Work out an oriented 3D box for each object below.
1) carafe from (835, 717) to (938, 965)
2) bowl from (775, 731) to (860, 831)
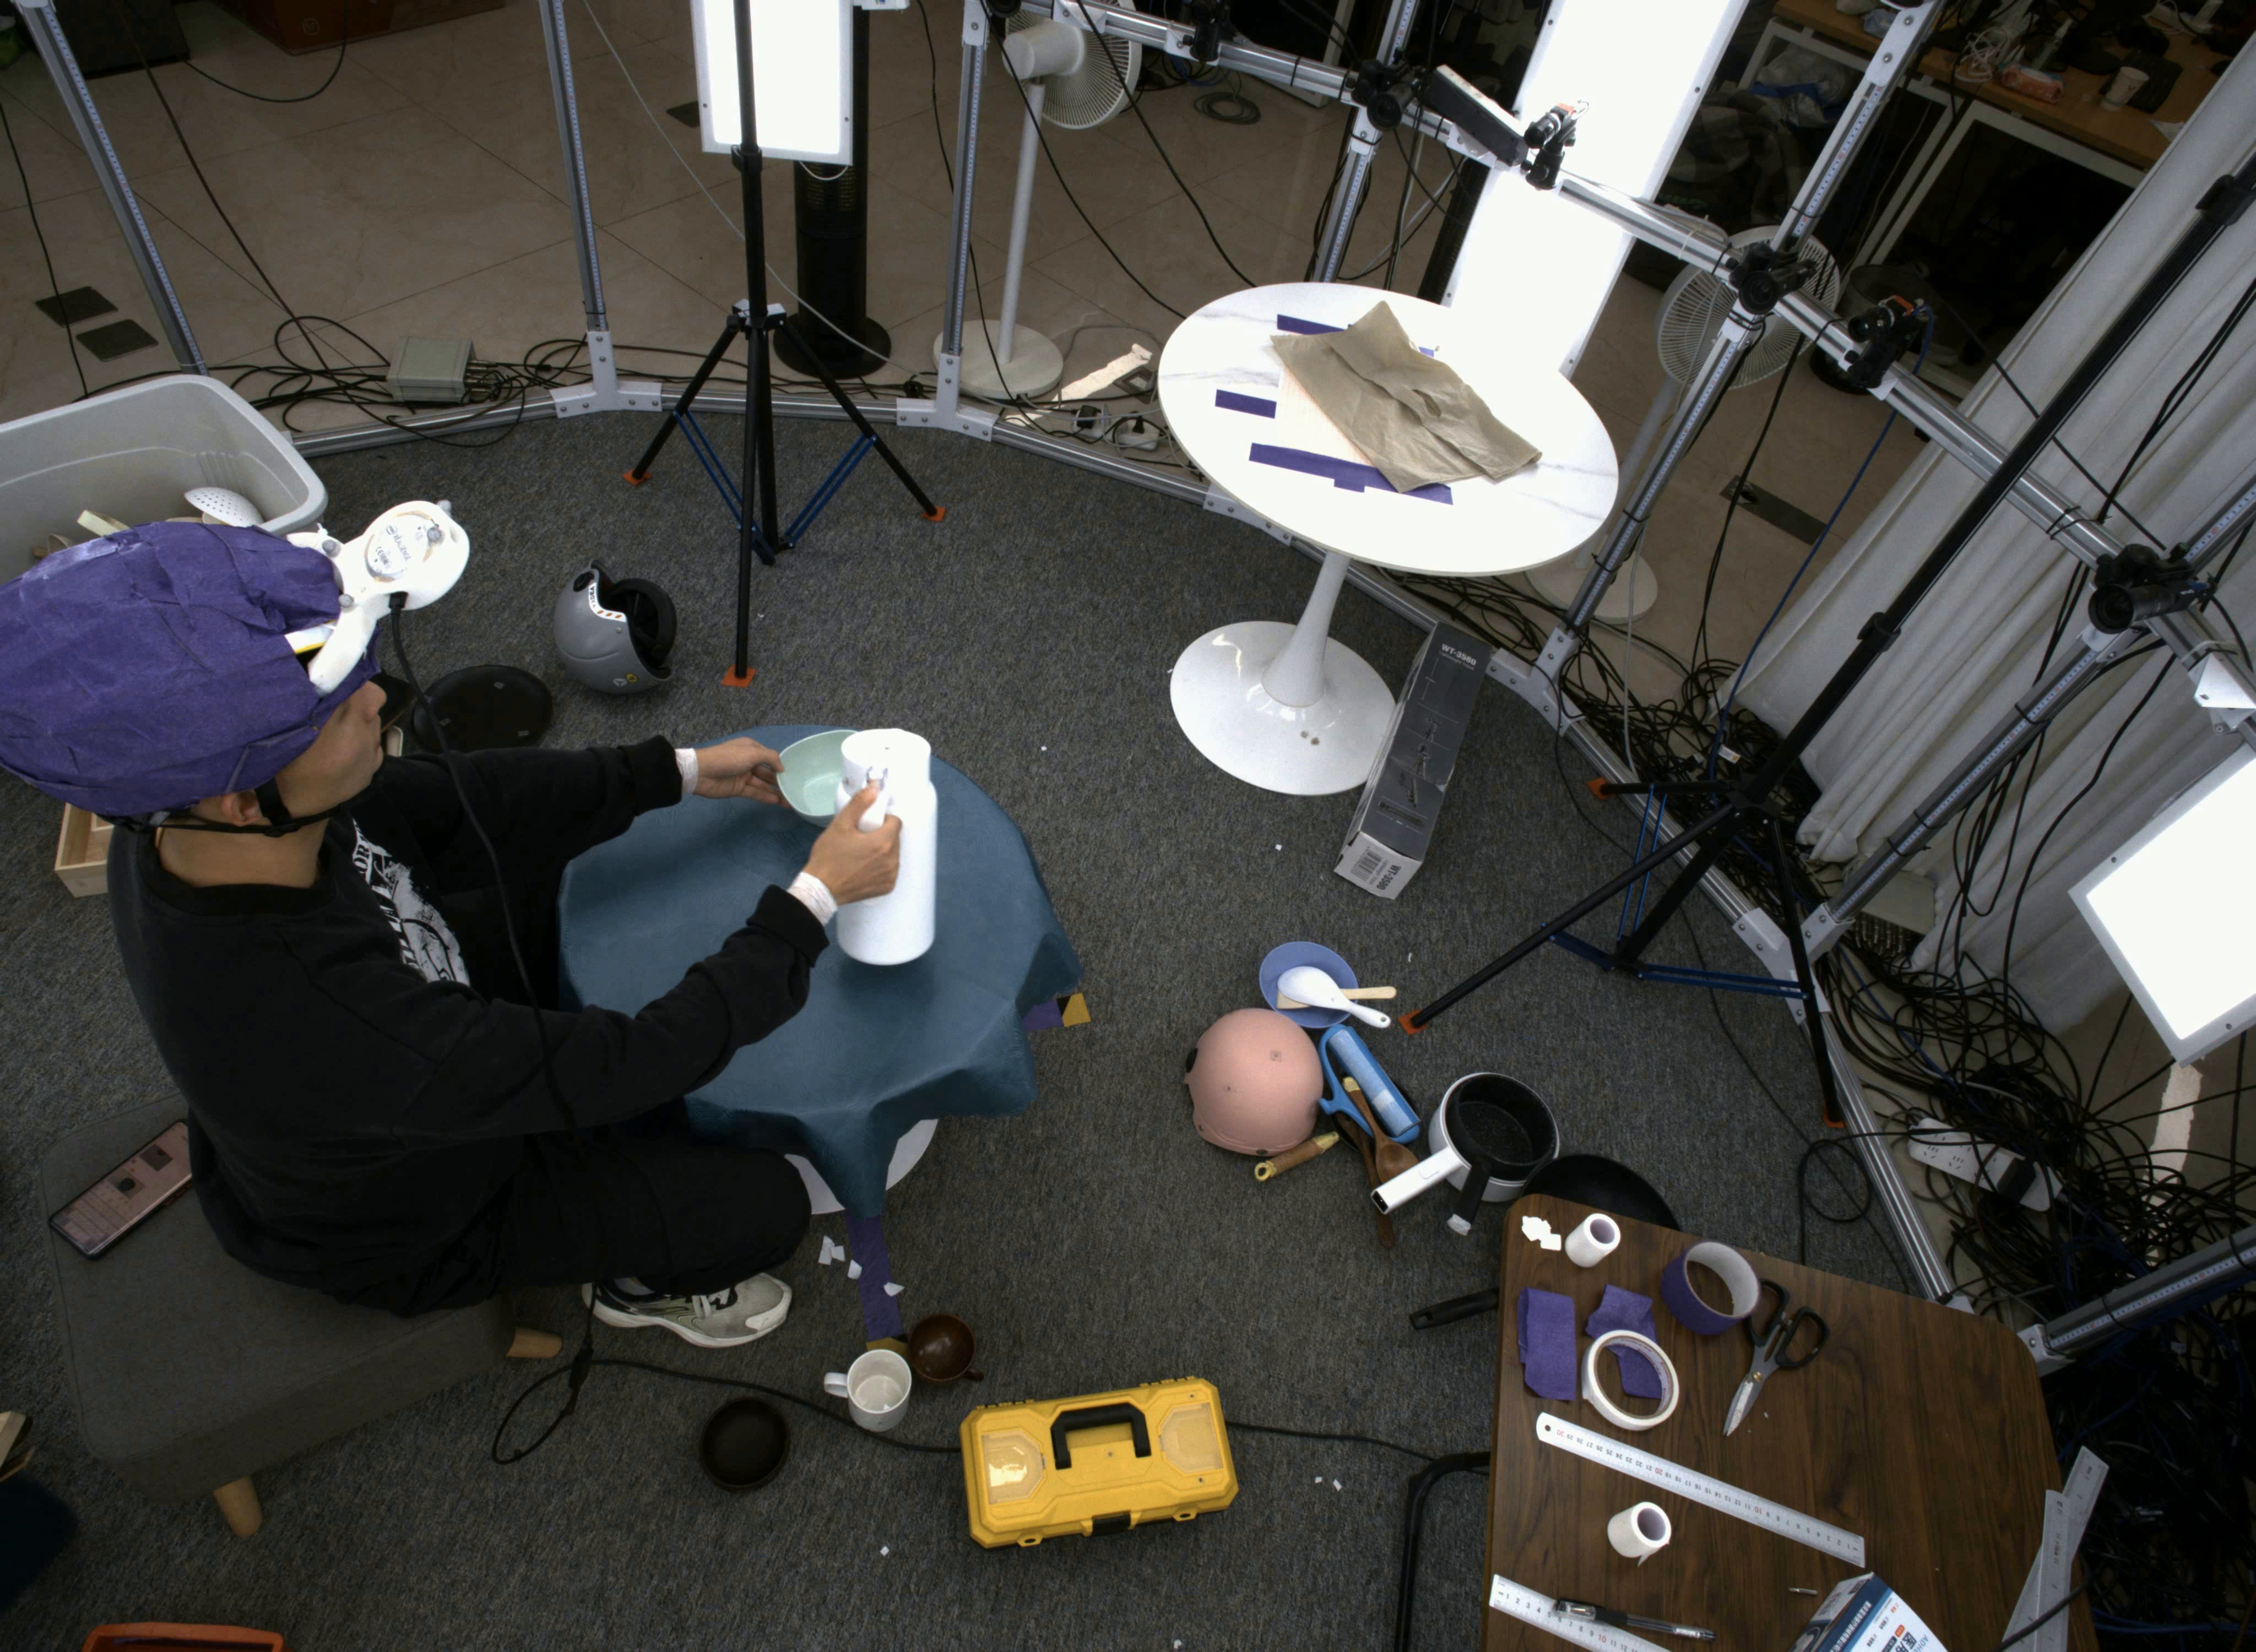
[{"bbox_3d":[-0.280,0.031,1.504,0.123,0.276,0.169,6,31,-3],"label":"carafe"},{"bbox_3d":[-0.383,-0.050,1.691,0.150,0.060,0.149,3,54,-3],"label":"bowl"}]
